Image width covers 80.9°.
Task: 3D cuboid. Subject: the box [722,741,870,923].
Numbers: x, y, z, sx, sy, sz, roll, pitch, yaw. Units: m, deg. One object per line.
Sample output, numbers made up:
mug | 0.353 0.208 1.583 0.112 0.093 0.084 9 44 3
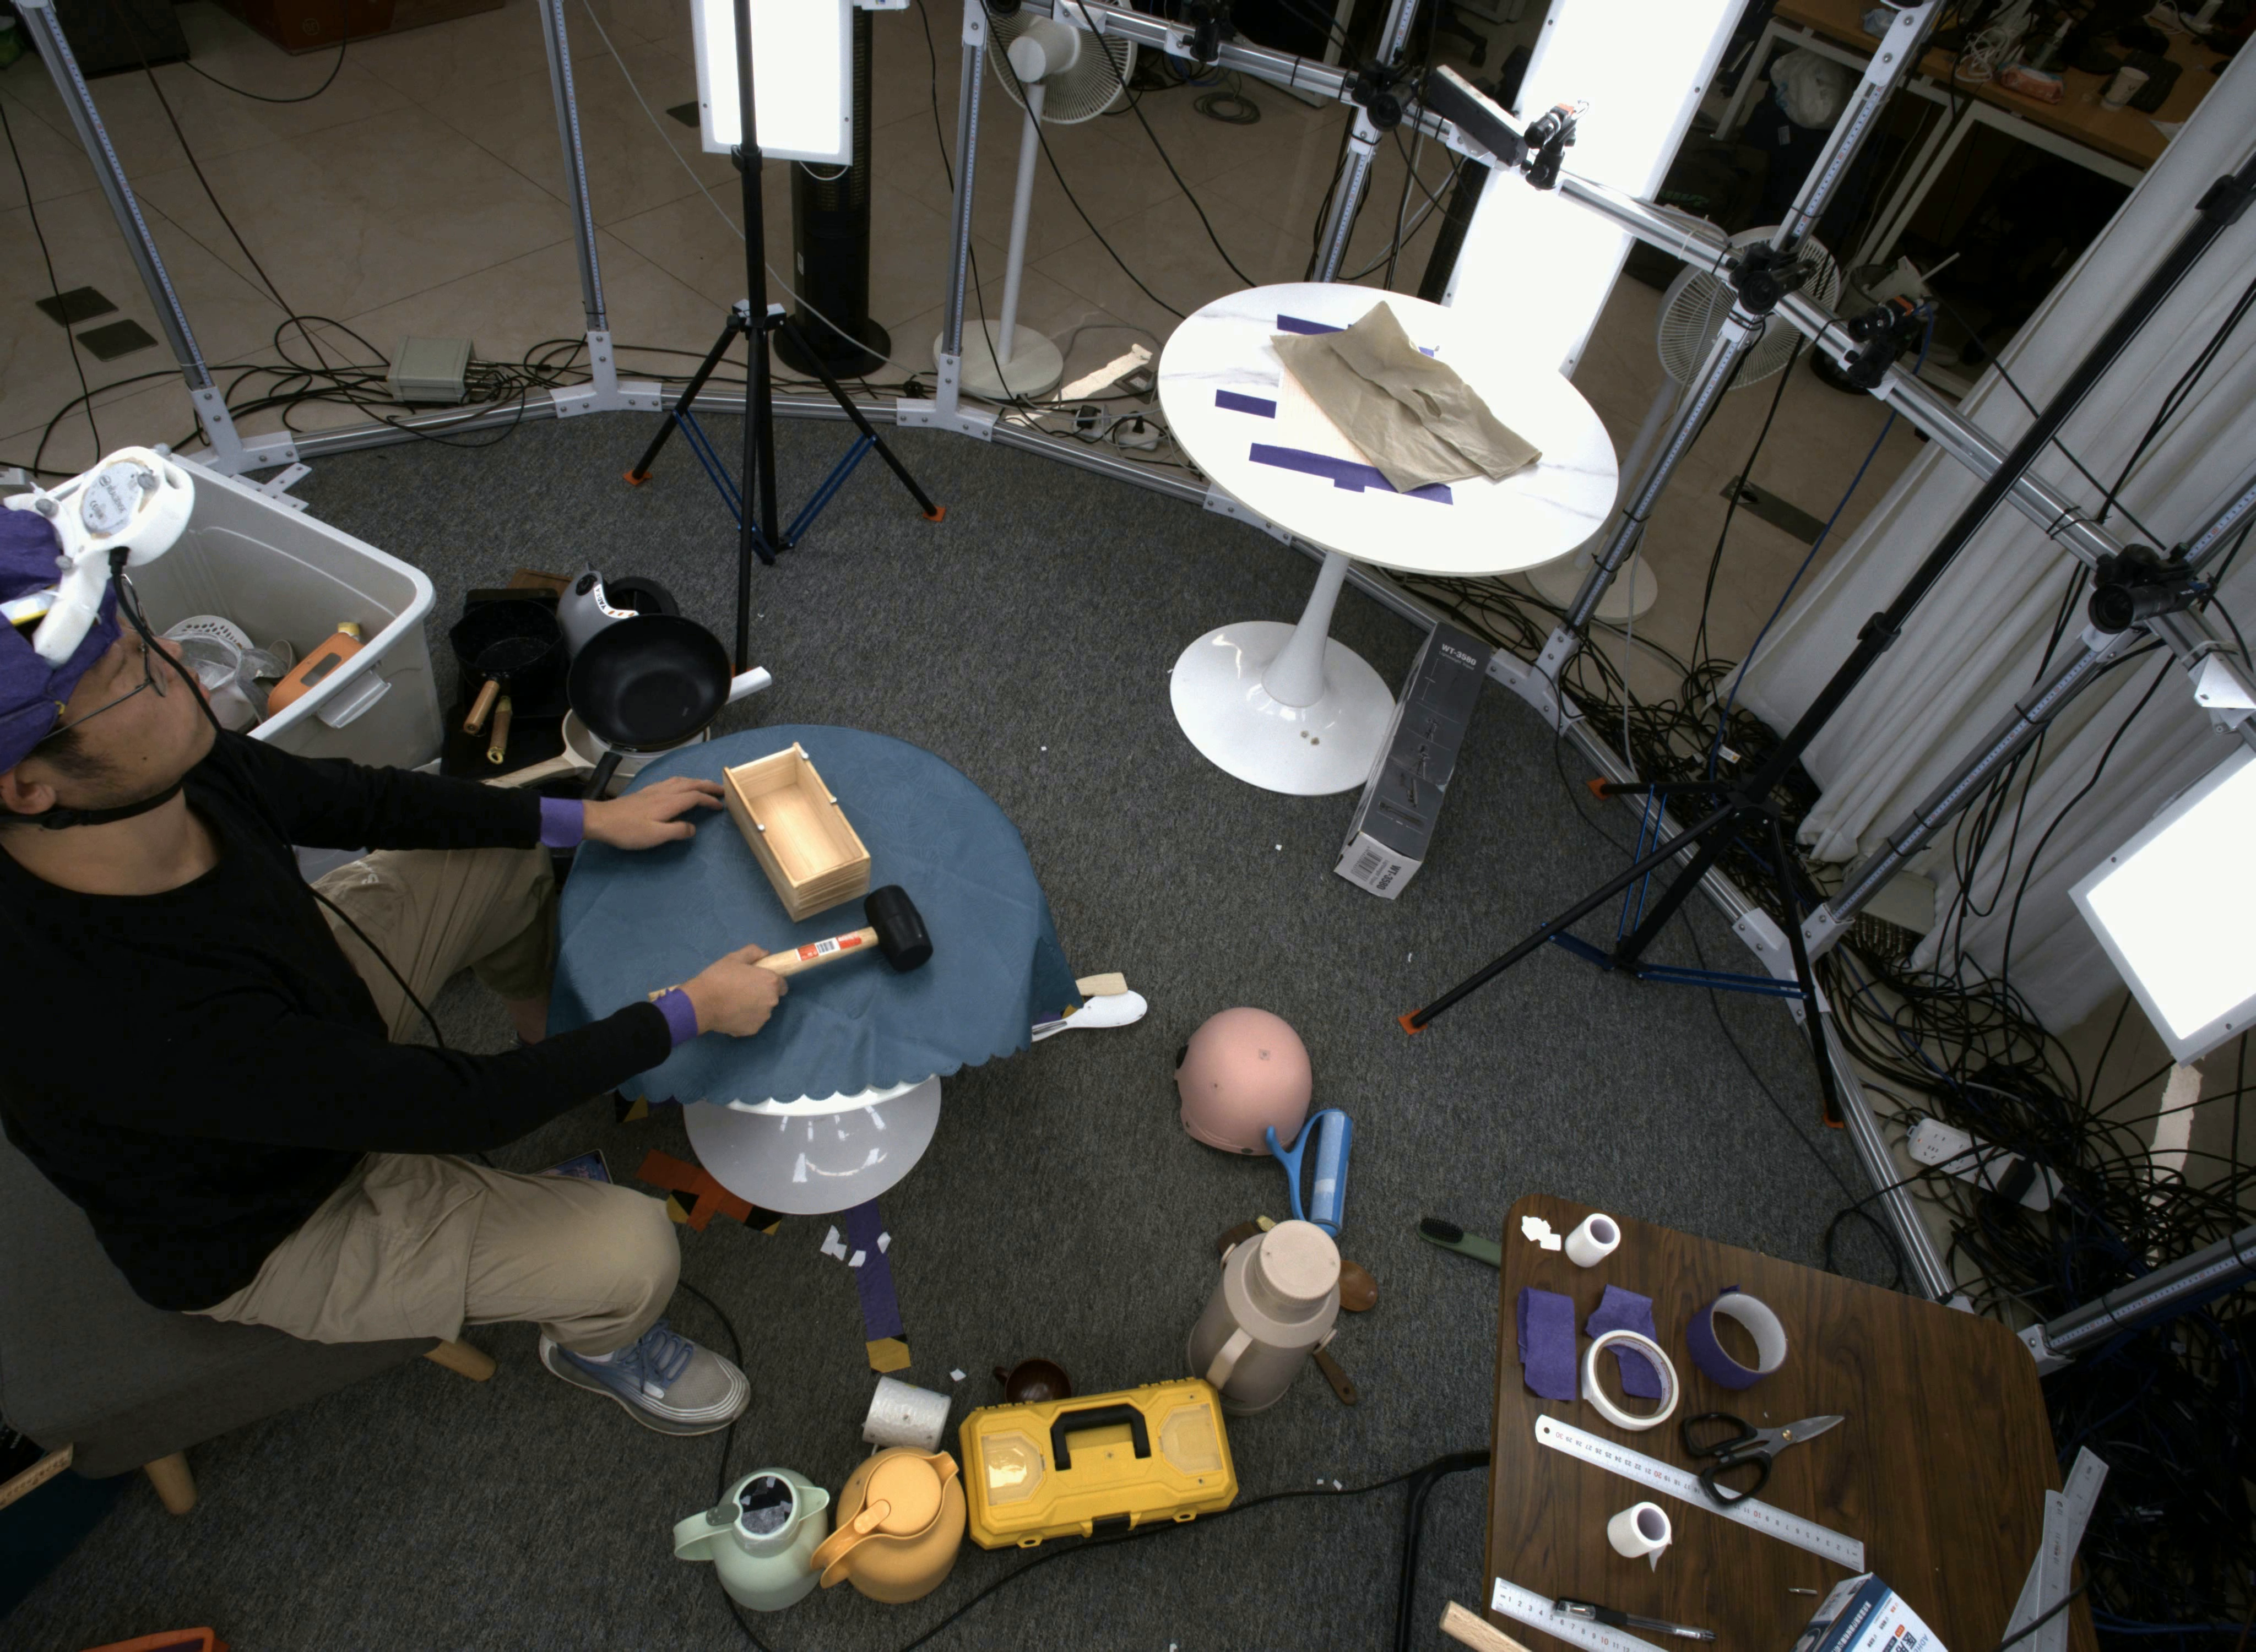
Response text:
box | -0.427 0.005 1.666 0.108 0.082 0.206 -24 63 -28

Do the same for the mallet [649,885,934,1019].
mallet | -0.402 0.157 1.554 0.342 0.065 0.099 -14 53 -29
